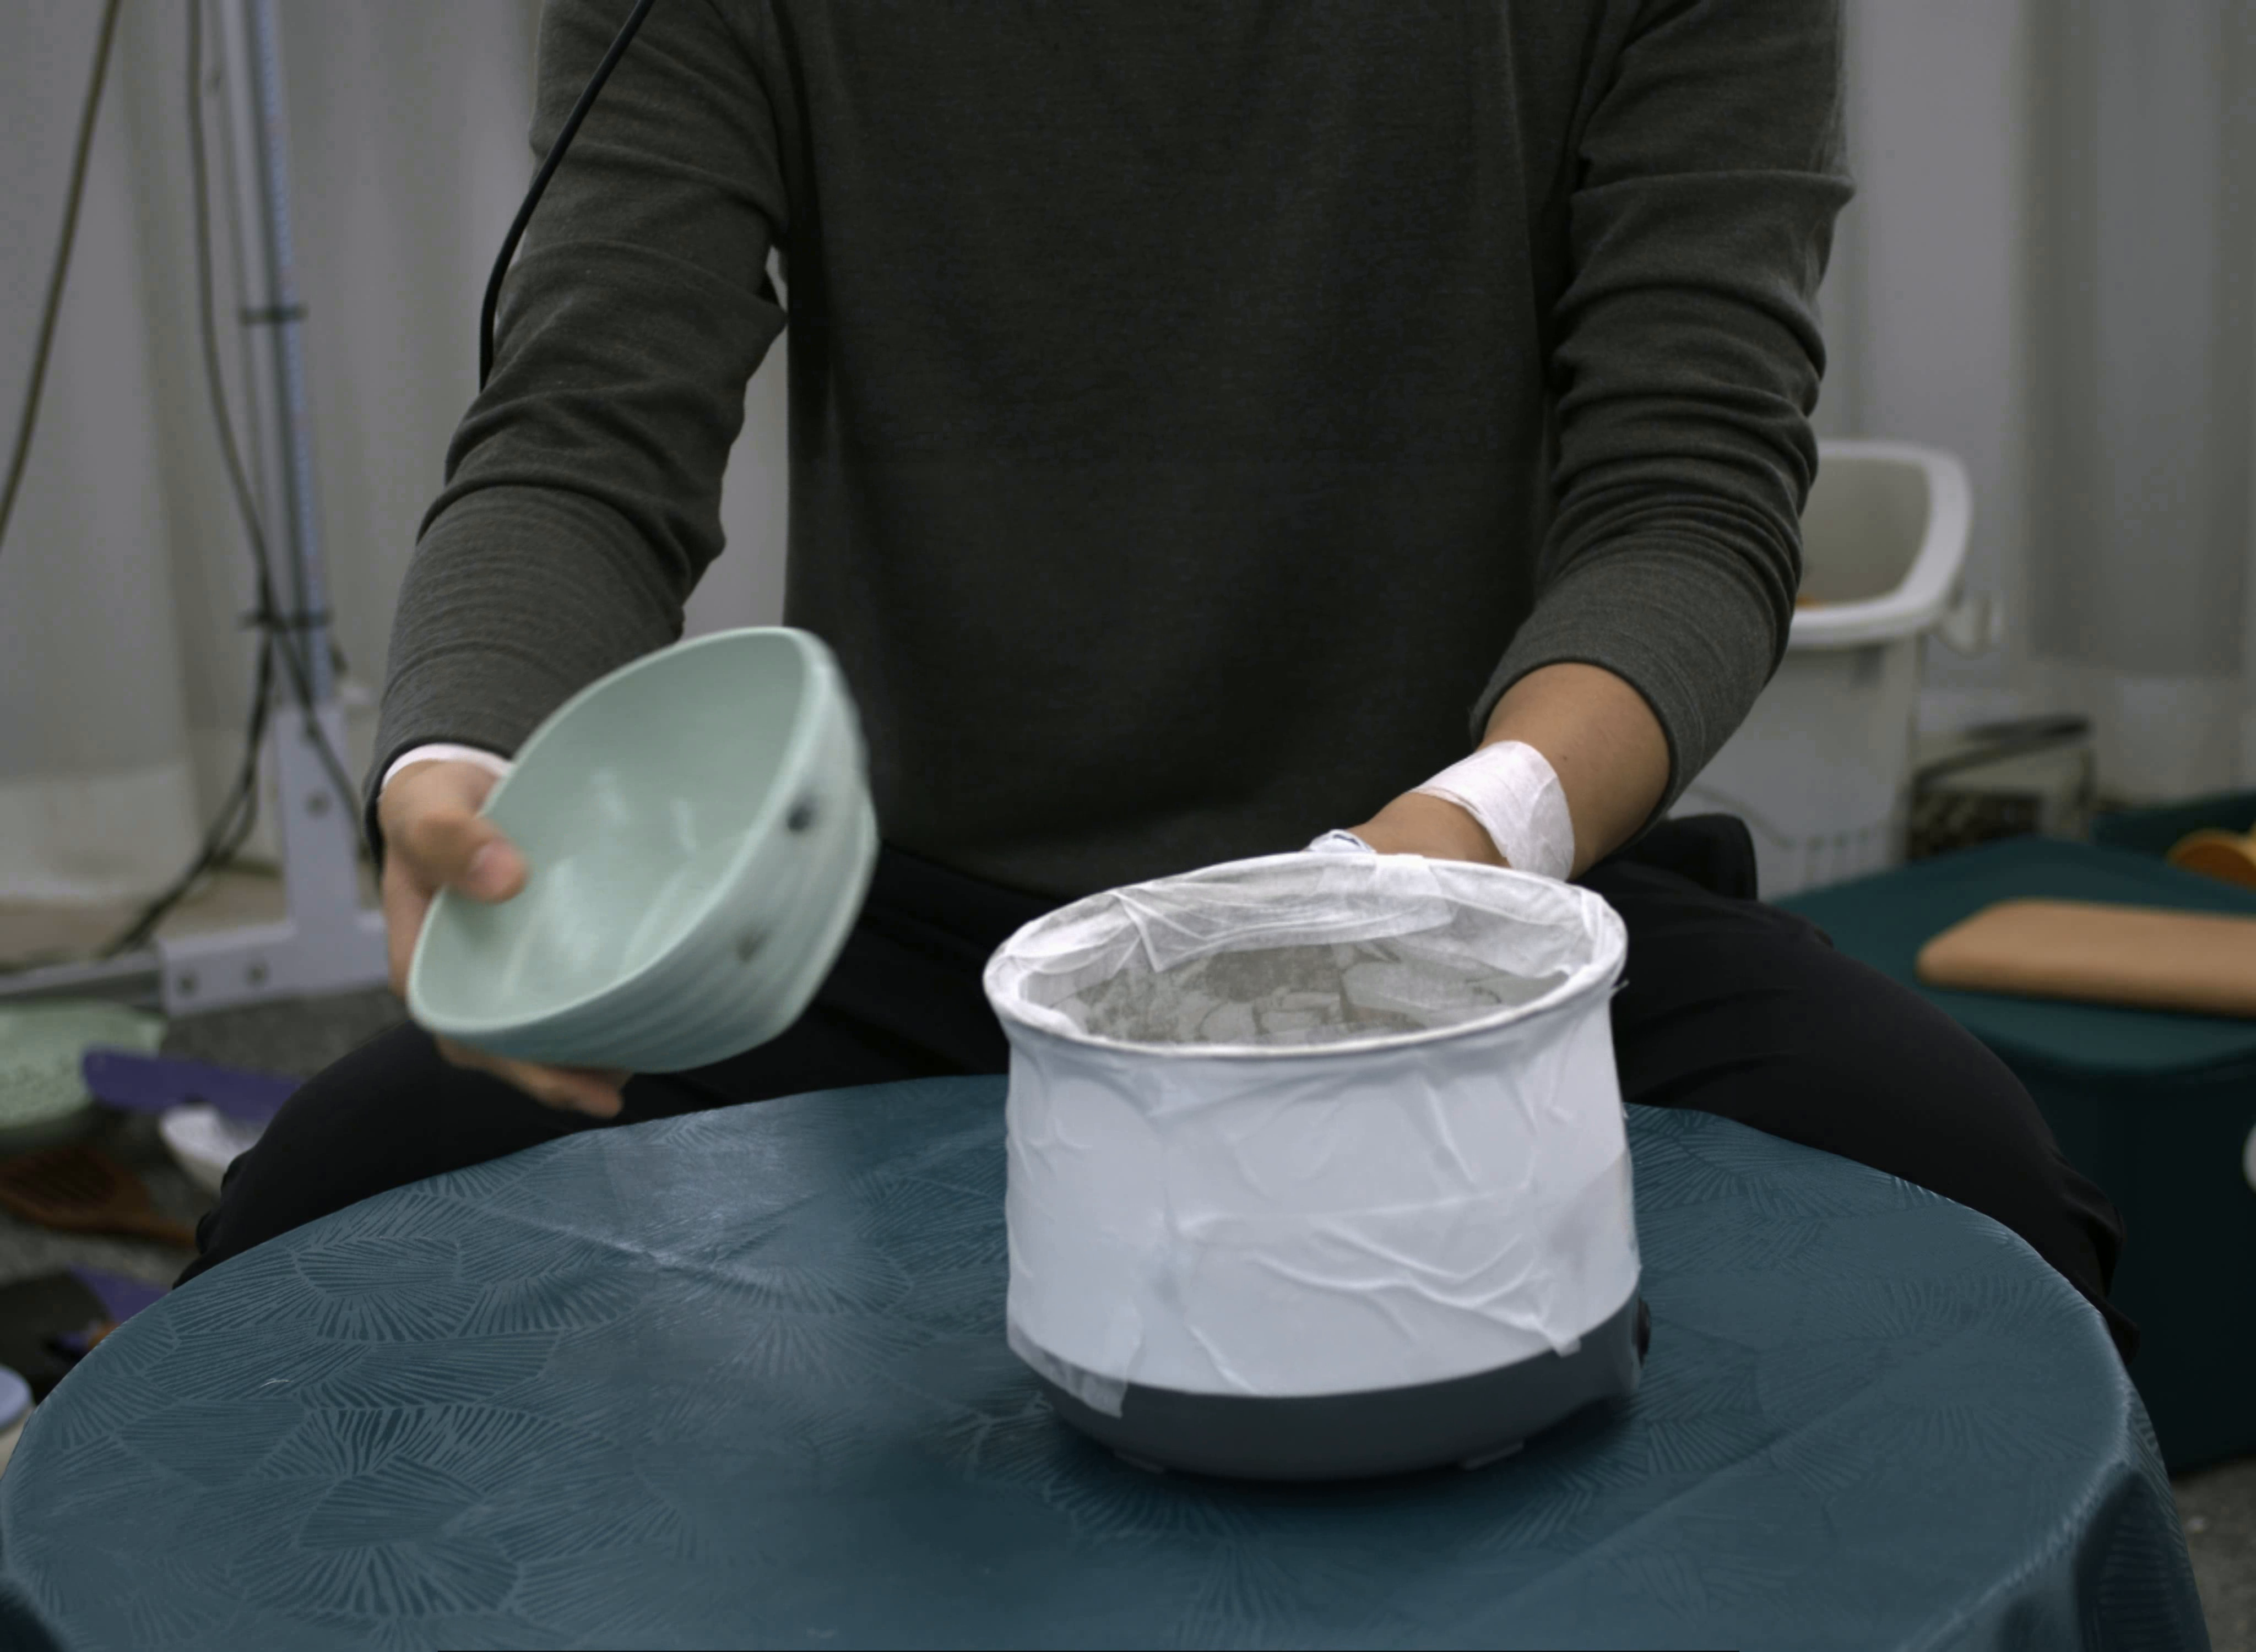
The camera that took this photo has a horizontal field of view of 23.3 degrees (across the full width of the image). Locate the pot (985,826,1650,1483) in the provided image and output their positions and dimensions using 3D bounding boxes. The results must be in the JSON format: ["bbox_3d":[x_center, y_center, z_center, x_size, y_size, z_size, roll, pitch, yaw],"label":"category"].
[{"bbox_3d":[0.056,0.086,1.538,0.178,0.136,0.235,-2,16,8],"label":"pot"}]

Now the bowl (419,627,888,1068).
[{"bbox_3d":[-0.120,0.016,1.515,0.151,0.058,0.153,-28,33,20],"label":"bowl"}]
